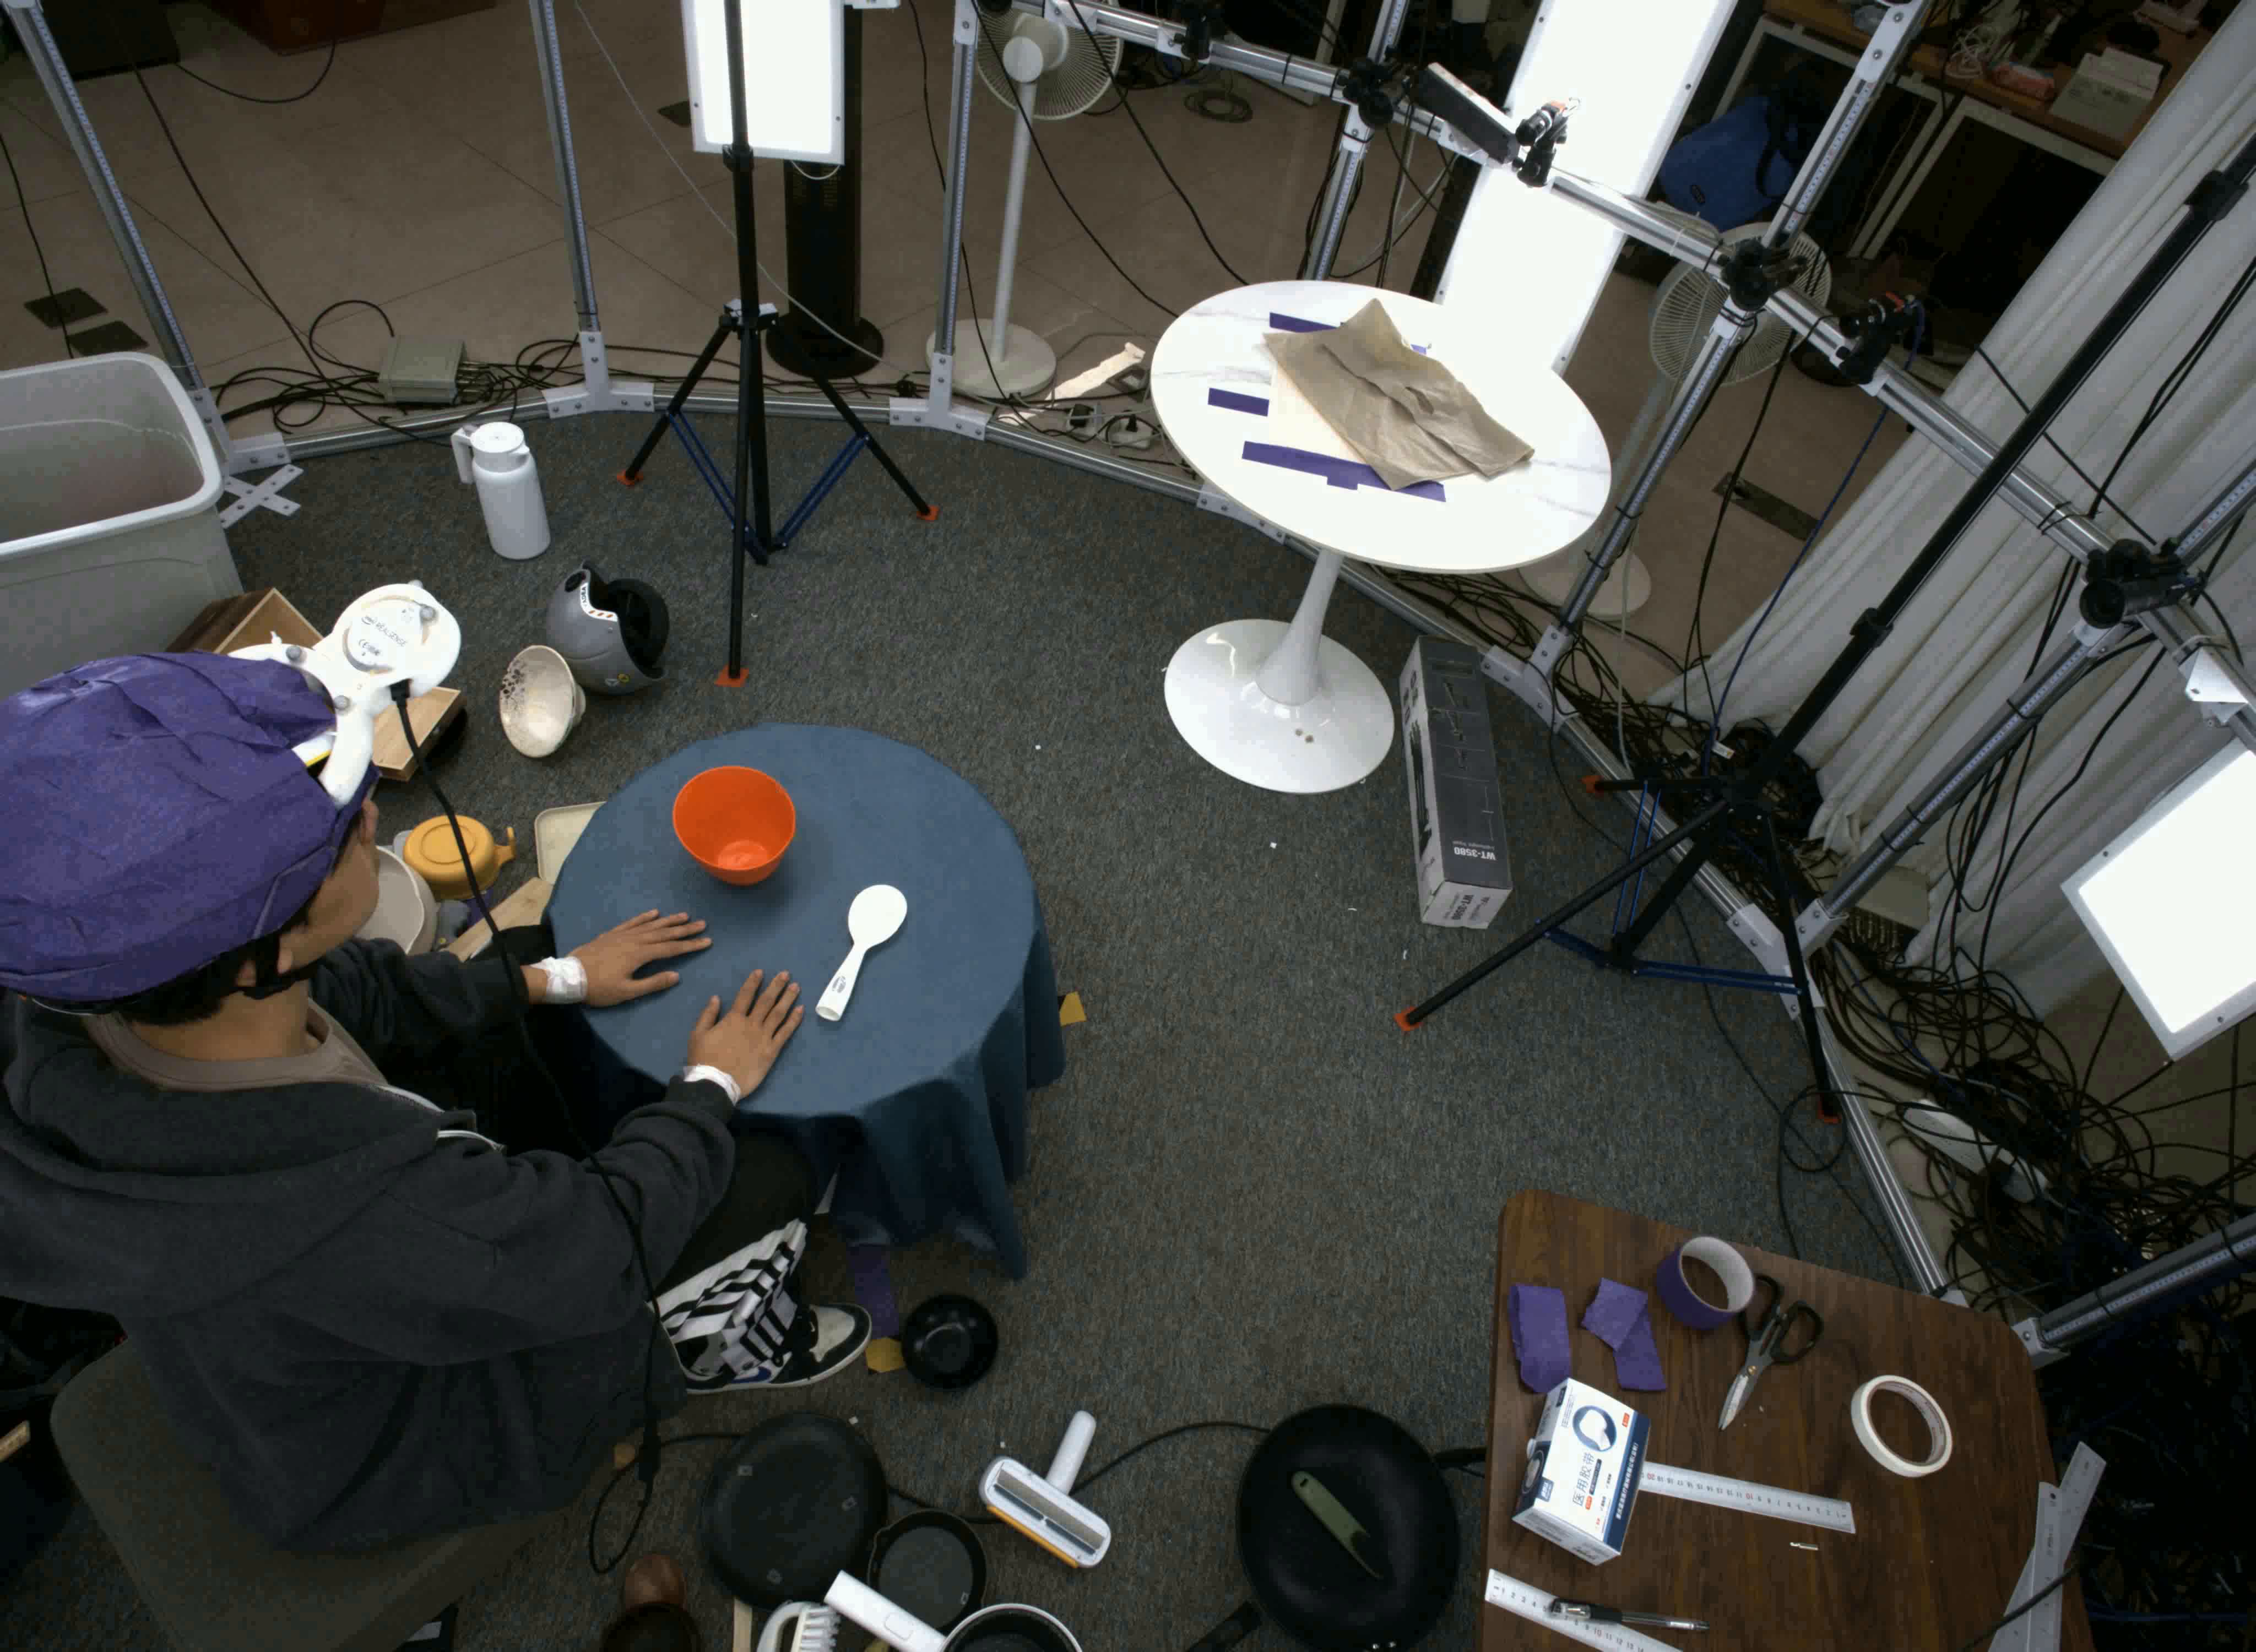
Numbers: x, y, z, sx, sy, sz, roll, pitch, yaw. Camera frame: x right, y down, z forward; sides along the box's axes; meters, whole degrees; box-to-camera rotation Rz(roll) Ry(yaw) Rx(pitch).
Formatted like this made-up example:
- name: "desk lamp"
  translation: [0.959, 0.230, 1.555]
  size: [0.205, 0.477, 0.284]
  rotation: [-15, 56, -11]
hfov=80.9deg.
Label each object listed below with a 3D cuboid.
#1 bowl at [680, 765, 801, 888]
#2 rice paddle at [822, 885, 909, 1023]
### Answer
- name: "bowl"
  translation: [-0.488, 0.011, 1.639]
  size: [0.148, 0.106, 0.145]
  rotation: [8, 52, -9]
- name: "rice paddle"
  translation: [-0.330, 0.150, 1.621]
  size: [0.068, 0.030, 0.203]
  rotation: [19, 51, -1]
